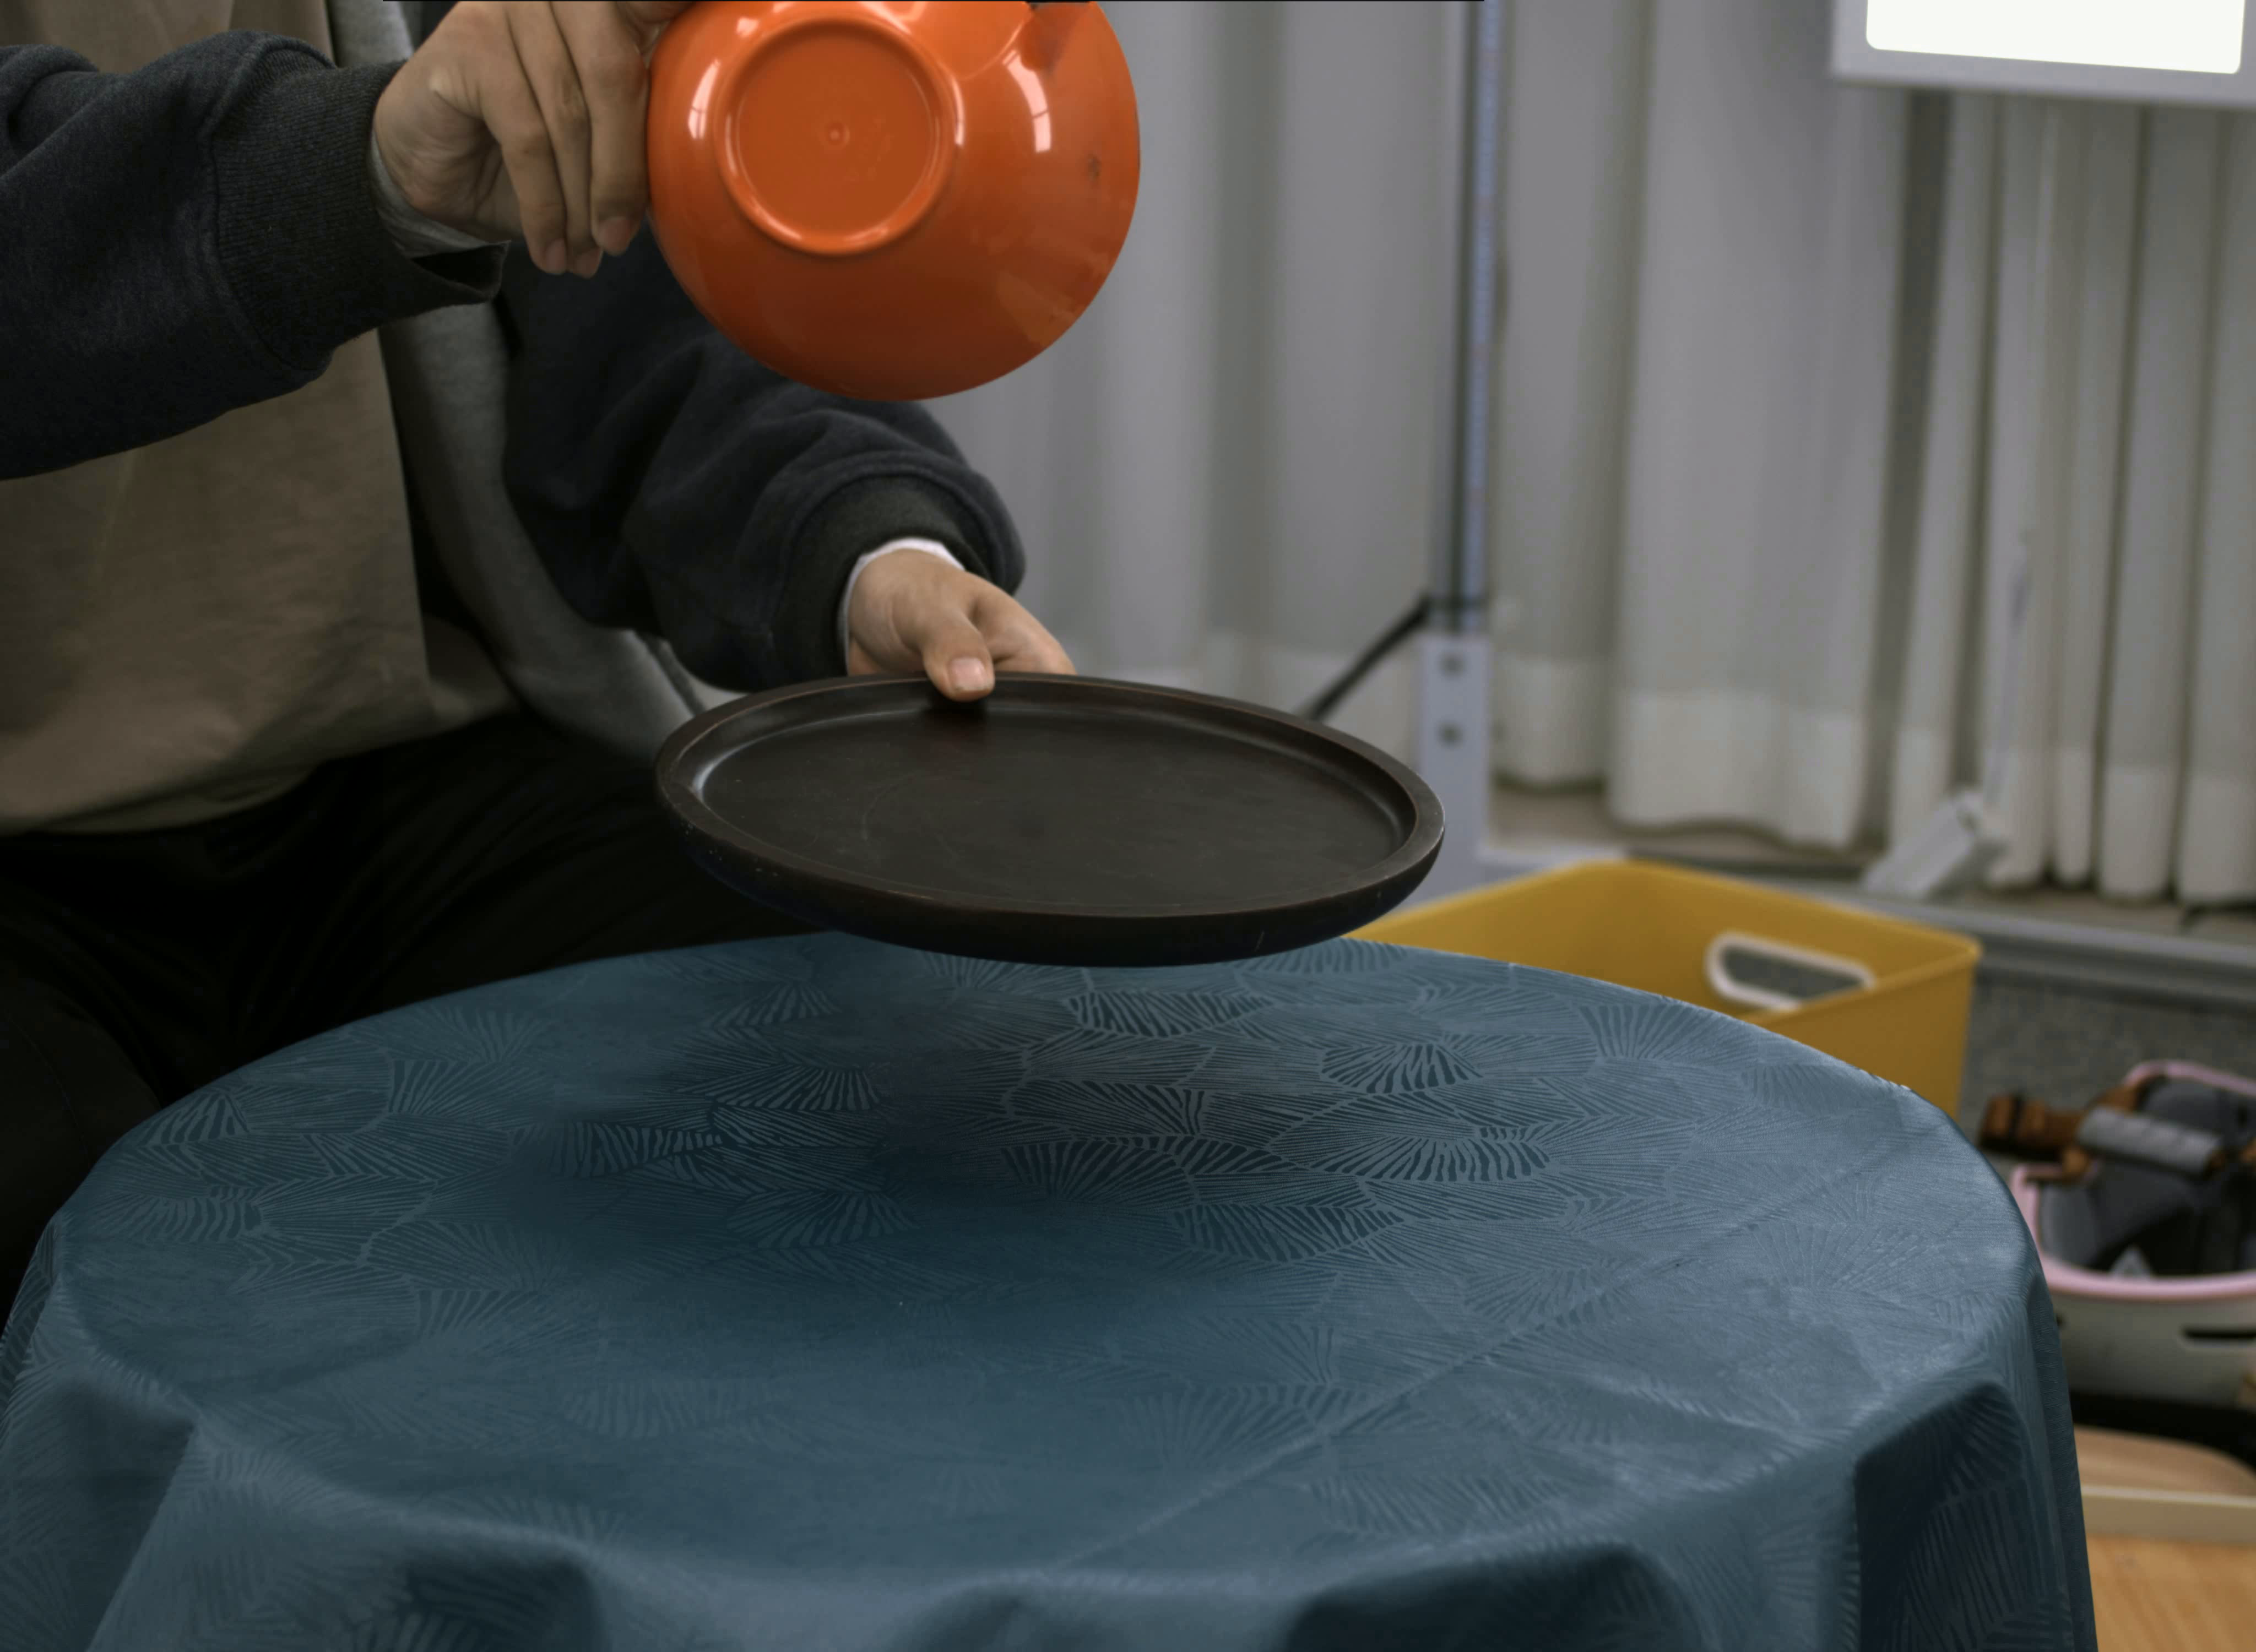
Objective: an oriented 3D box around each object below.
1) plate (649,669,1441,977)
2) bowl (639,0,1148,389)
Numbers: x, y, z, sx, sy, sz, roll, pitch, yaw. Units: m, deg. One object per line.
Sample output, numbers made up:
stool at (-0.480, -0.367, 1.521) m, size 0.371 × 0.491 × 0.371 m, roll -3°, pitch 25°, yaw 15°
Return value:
plate at (-0.026, -0.004, 1.671) m, size 0.254 × 0.029 × 0.253 m, roll 4°, pitch 19°, yaw -1°
bowl at (-0.069, -0.196, 1.493) m, size 0.147 × 0.149 × 0.104 m, roll 1°, pitch 9°, yaw 1°
